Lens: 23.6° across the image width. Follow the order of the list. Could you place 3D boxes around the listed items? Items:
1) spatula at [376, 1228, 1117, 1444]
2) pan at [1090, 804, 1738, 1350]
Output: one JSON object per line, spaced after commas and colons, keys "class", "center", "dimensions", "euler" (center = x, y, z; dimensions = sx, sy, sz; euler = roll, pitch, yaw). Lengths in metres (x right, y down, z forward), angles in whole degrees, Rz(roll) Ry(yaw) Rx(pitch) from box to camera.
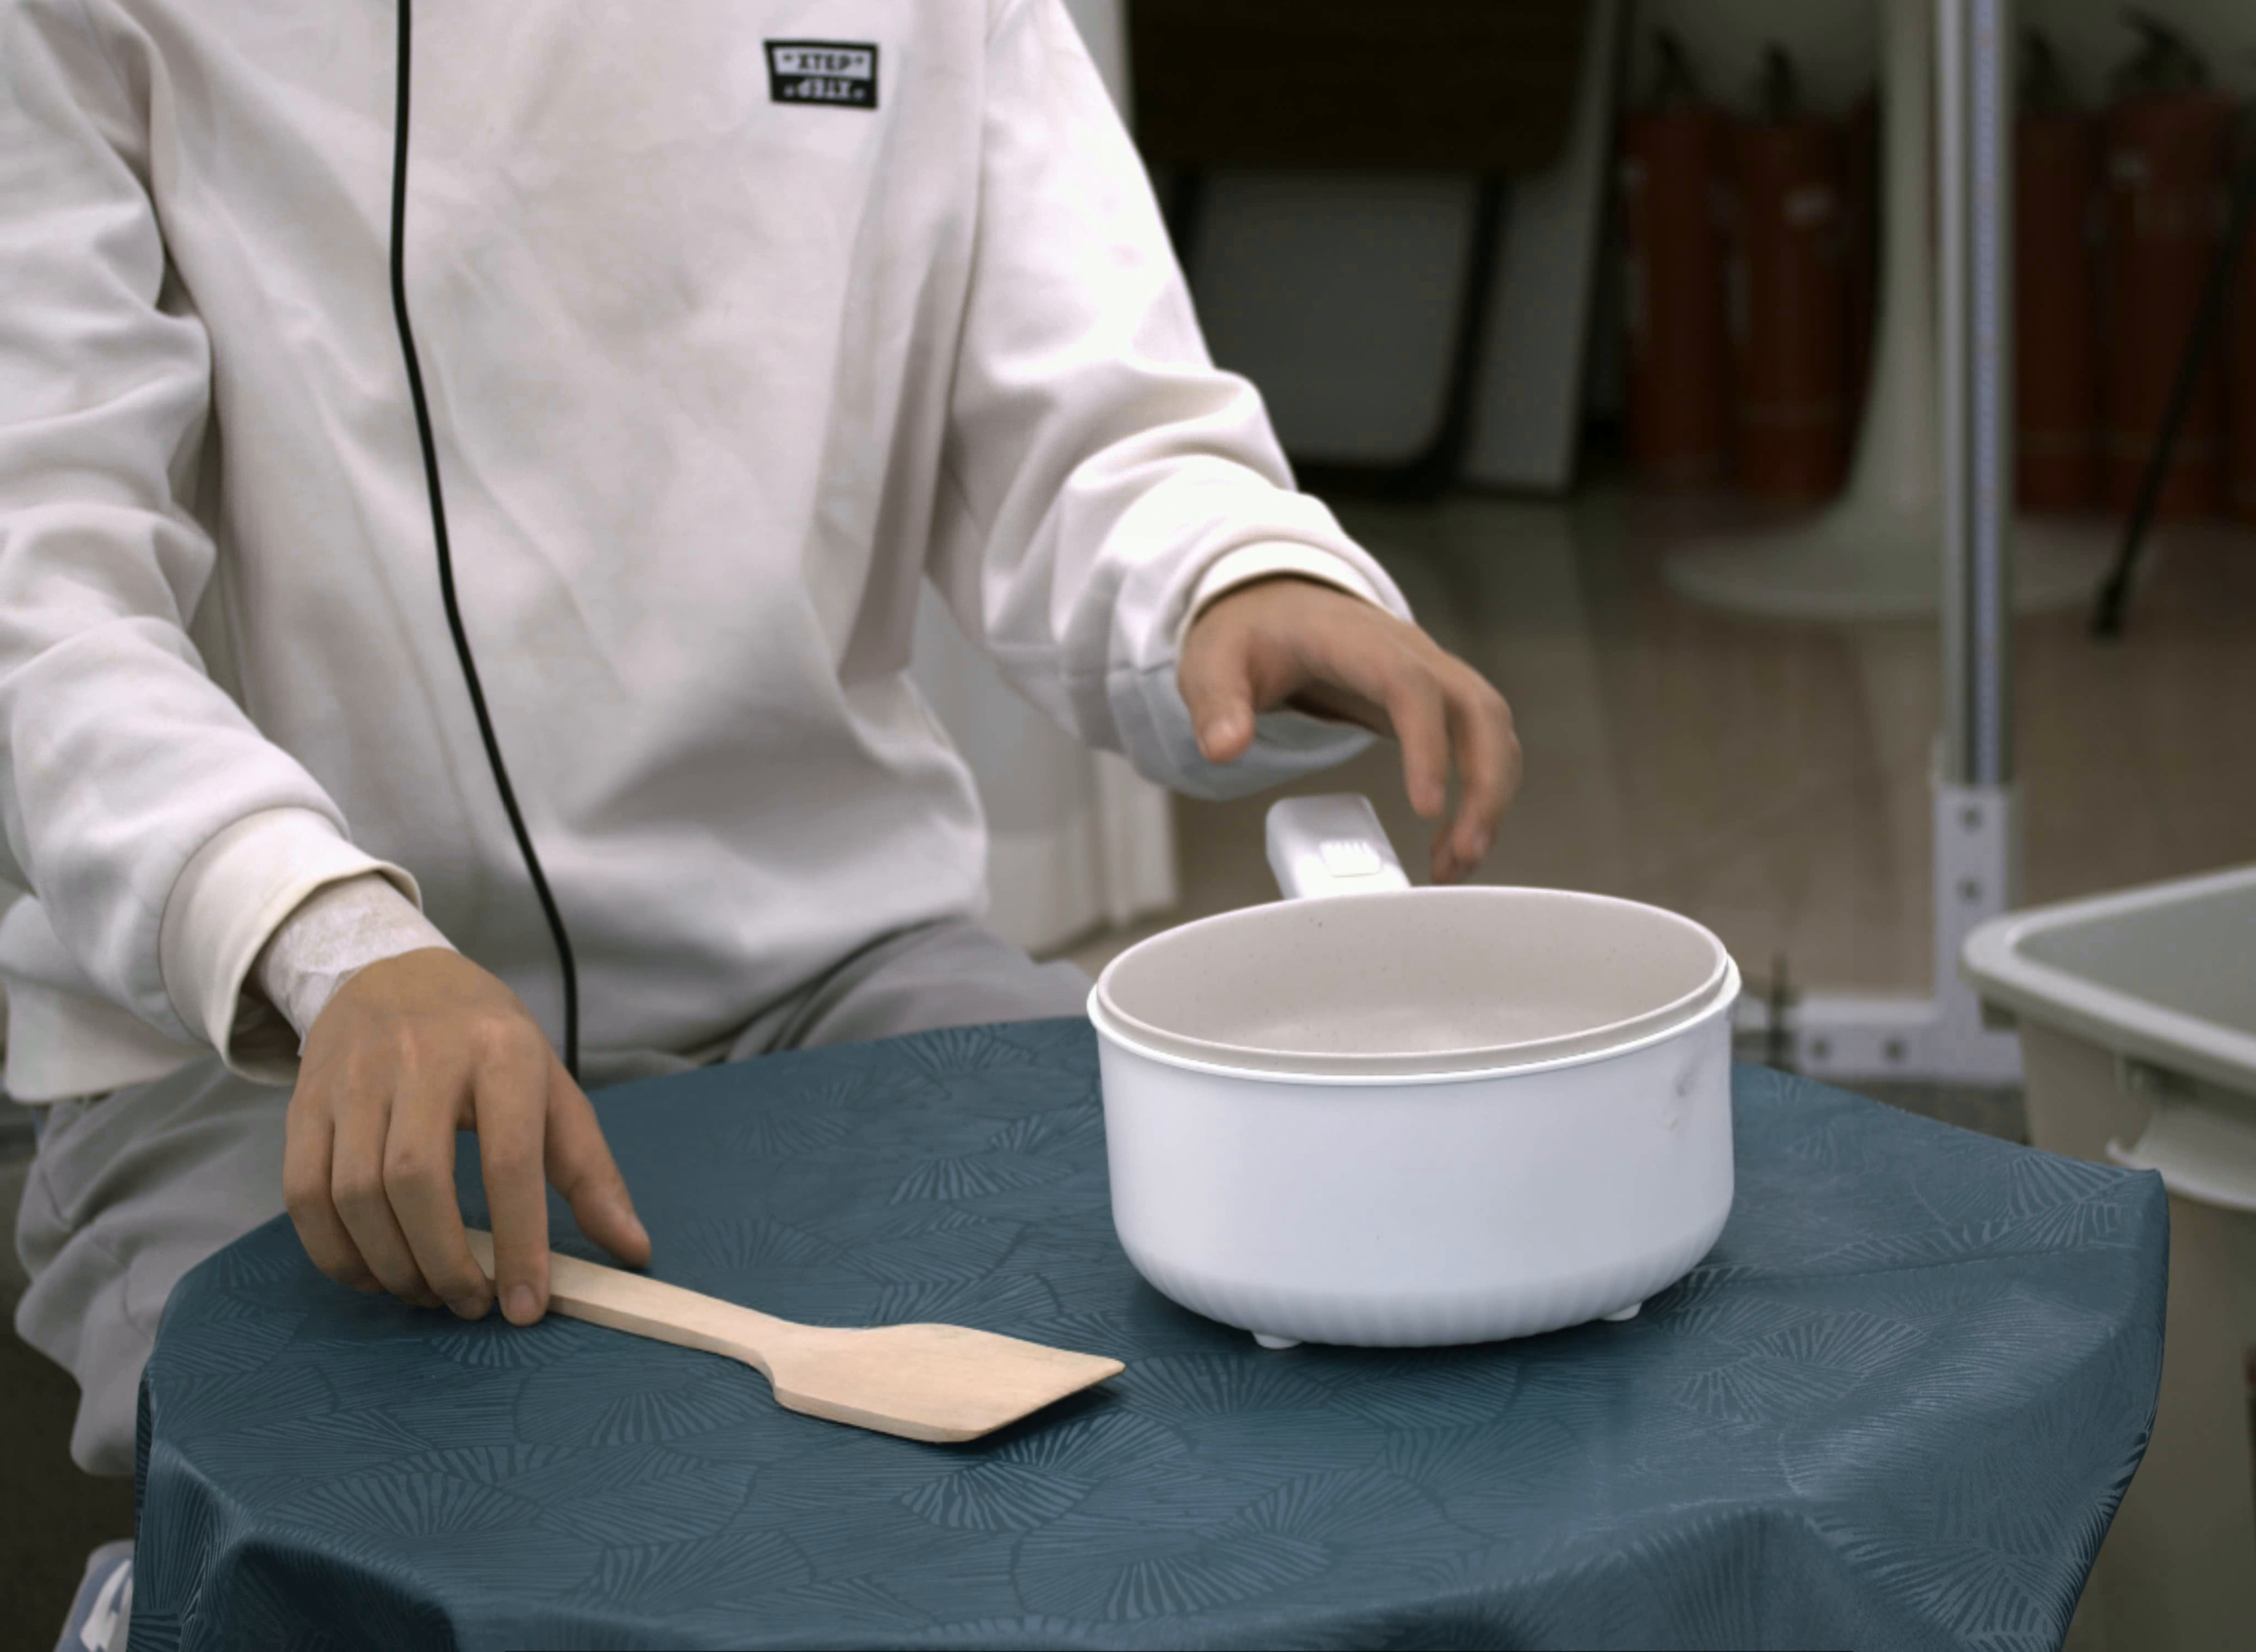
{"class": "spatula", "center": [-0.130, 0.154, 1.660], "dimensions": [0.295, 0.011, 0.071], "euler": [8, 19, 42]}
{"class": "pan", "center": [0.085, 0.076, 1.734], "dimensions": [0.198, 0.103, 0.356], "euler": [-5, 12, -3]}
